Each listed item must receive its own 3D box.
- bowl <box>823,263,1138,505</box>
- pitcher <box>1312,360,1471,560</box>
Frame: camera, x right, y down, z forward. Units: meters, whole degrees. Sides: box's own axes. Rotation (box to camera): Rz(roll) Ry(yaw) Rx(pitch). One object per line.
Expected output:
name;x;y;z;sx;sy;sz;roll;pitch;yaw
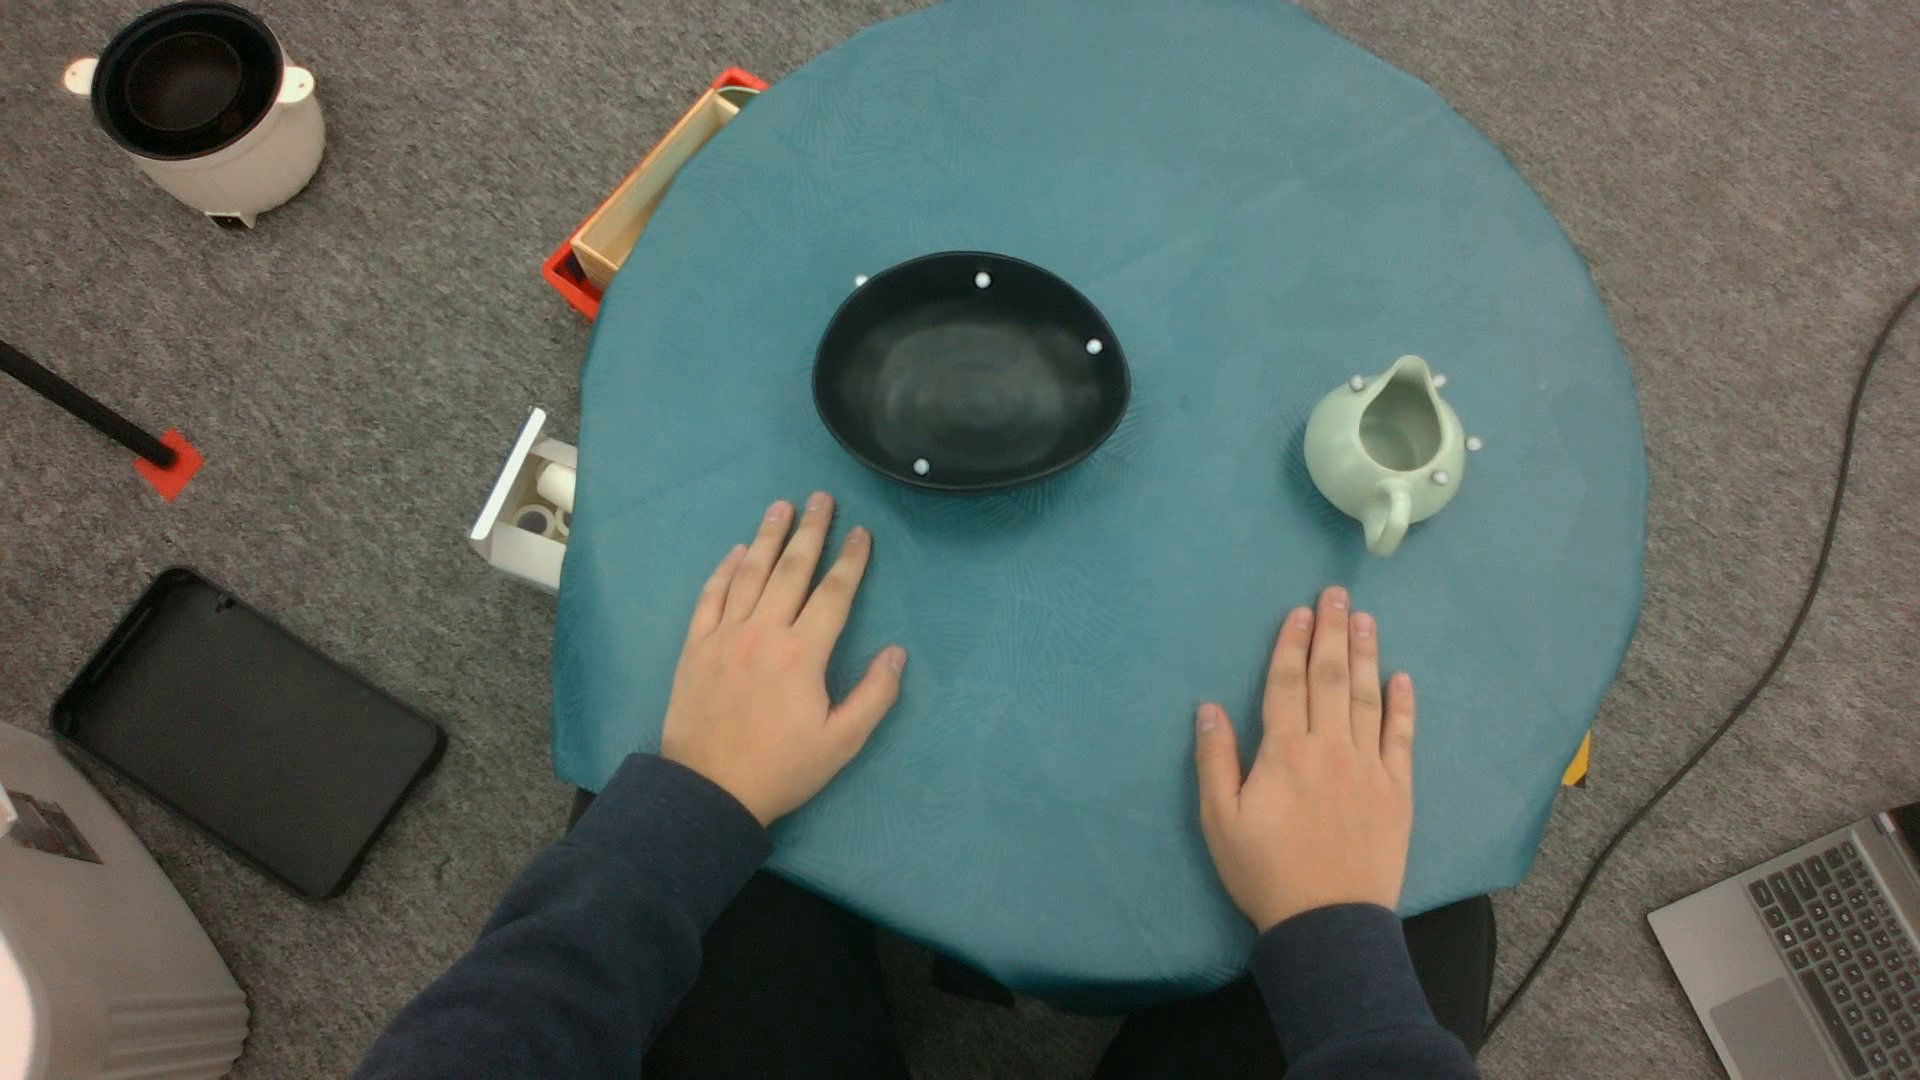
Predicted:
bowl;0.011;-0.078;0.761;0.170;0.066;0.137;-1;73;-1
pitcher;0.237;-0.039;0.751;0.086;0.060;0.108;8;74;4
